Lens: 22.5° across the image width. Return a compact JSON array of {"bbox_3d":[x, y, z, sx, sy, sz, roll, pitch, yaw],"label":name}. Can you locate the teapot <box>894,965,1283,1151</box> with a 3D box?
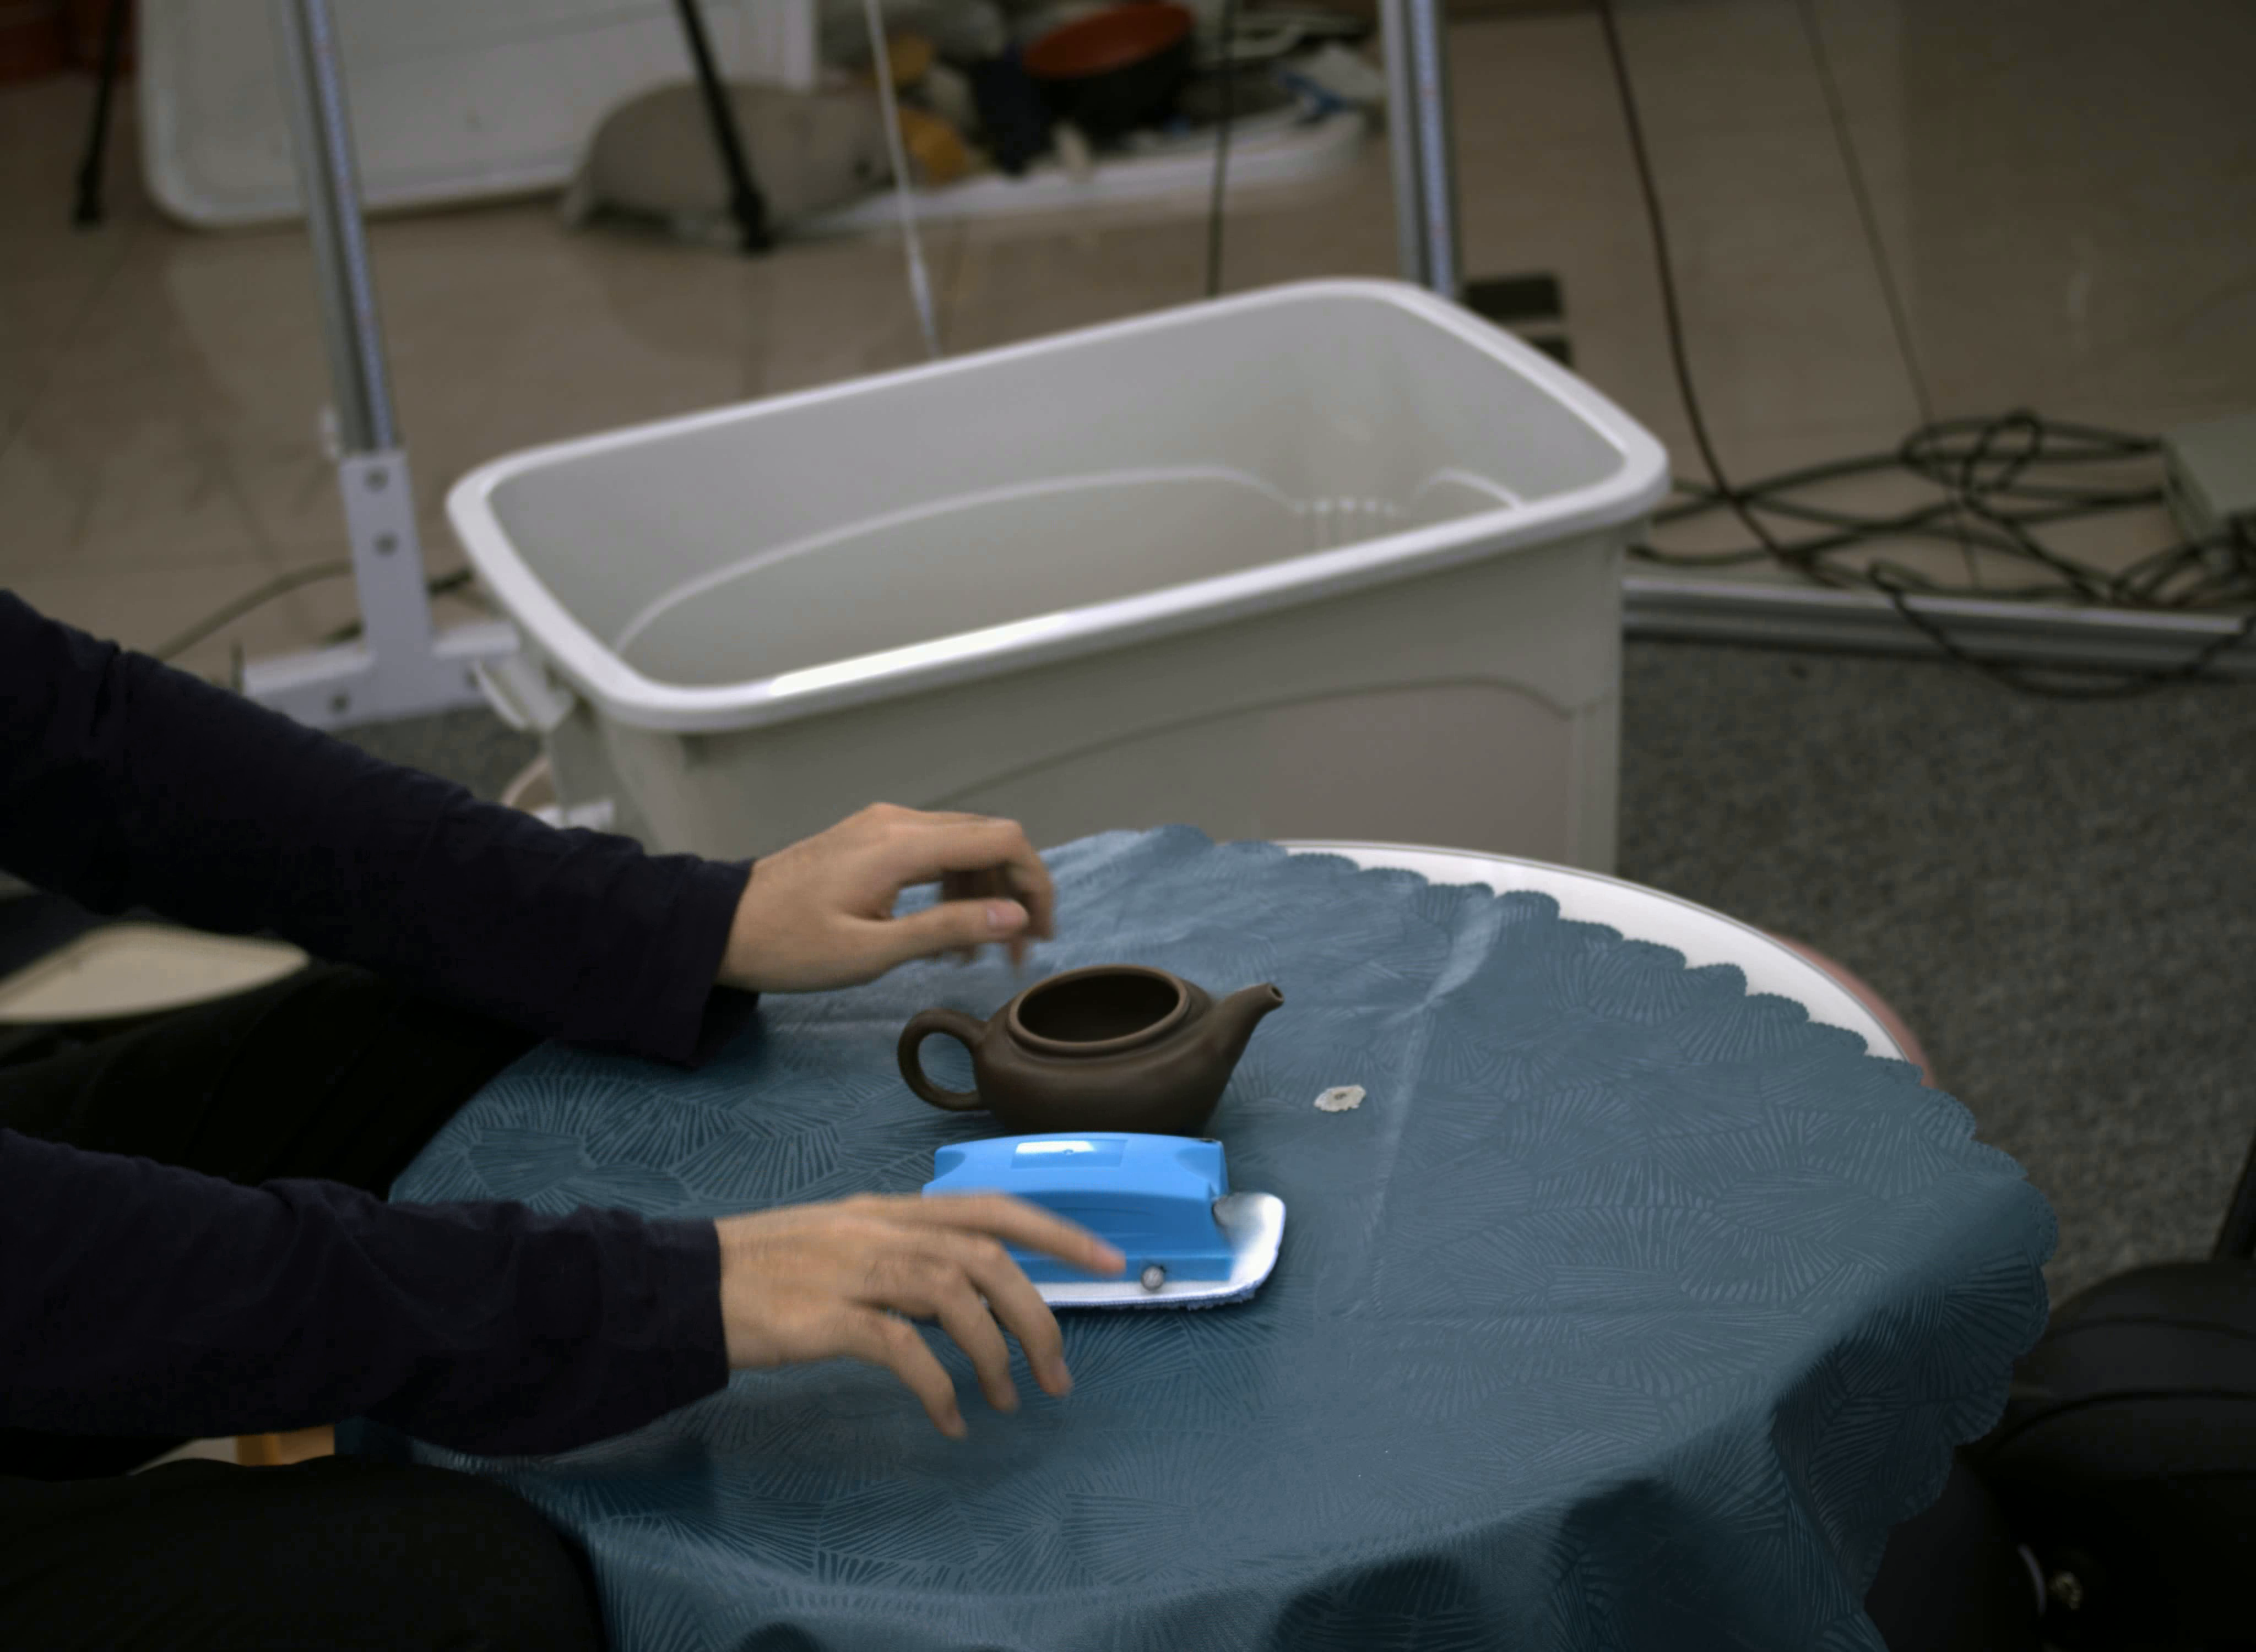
[{"bbox_3d":[-0.014,0.089,2.196,0.153,0.054,0.101,-5,24,3],"label":"teapot"}]

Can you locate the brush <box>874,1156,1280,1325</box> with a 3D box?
[{"bbox_3d":[-0.019,0.152,2.083,0.143,0.056,0.083,1,19,13],"label":"brush"}]
